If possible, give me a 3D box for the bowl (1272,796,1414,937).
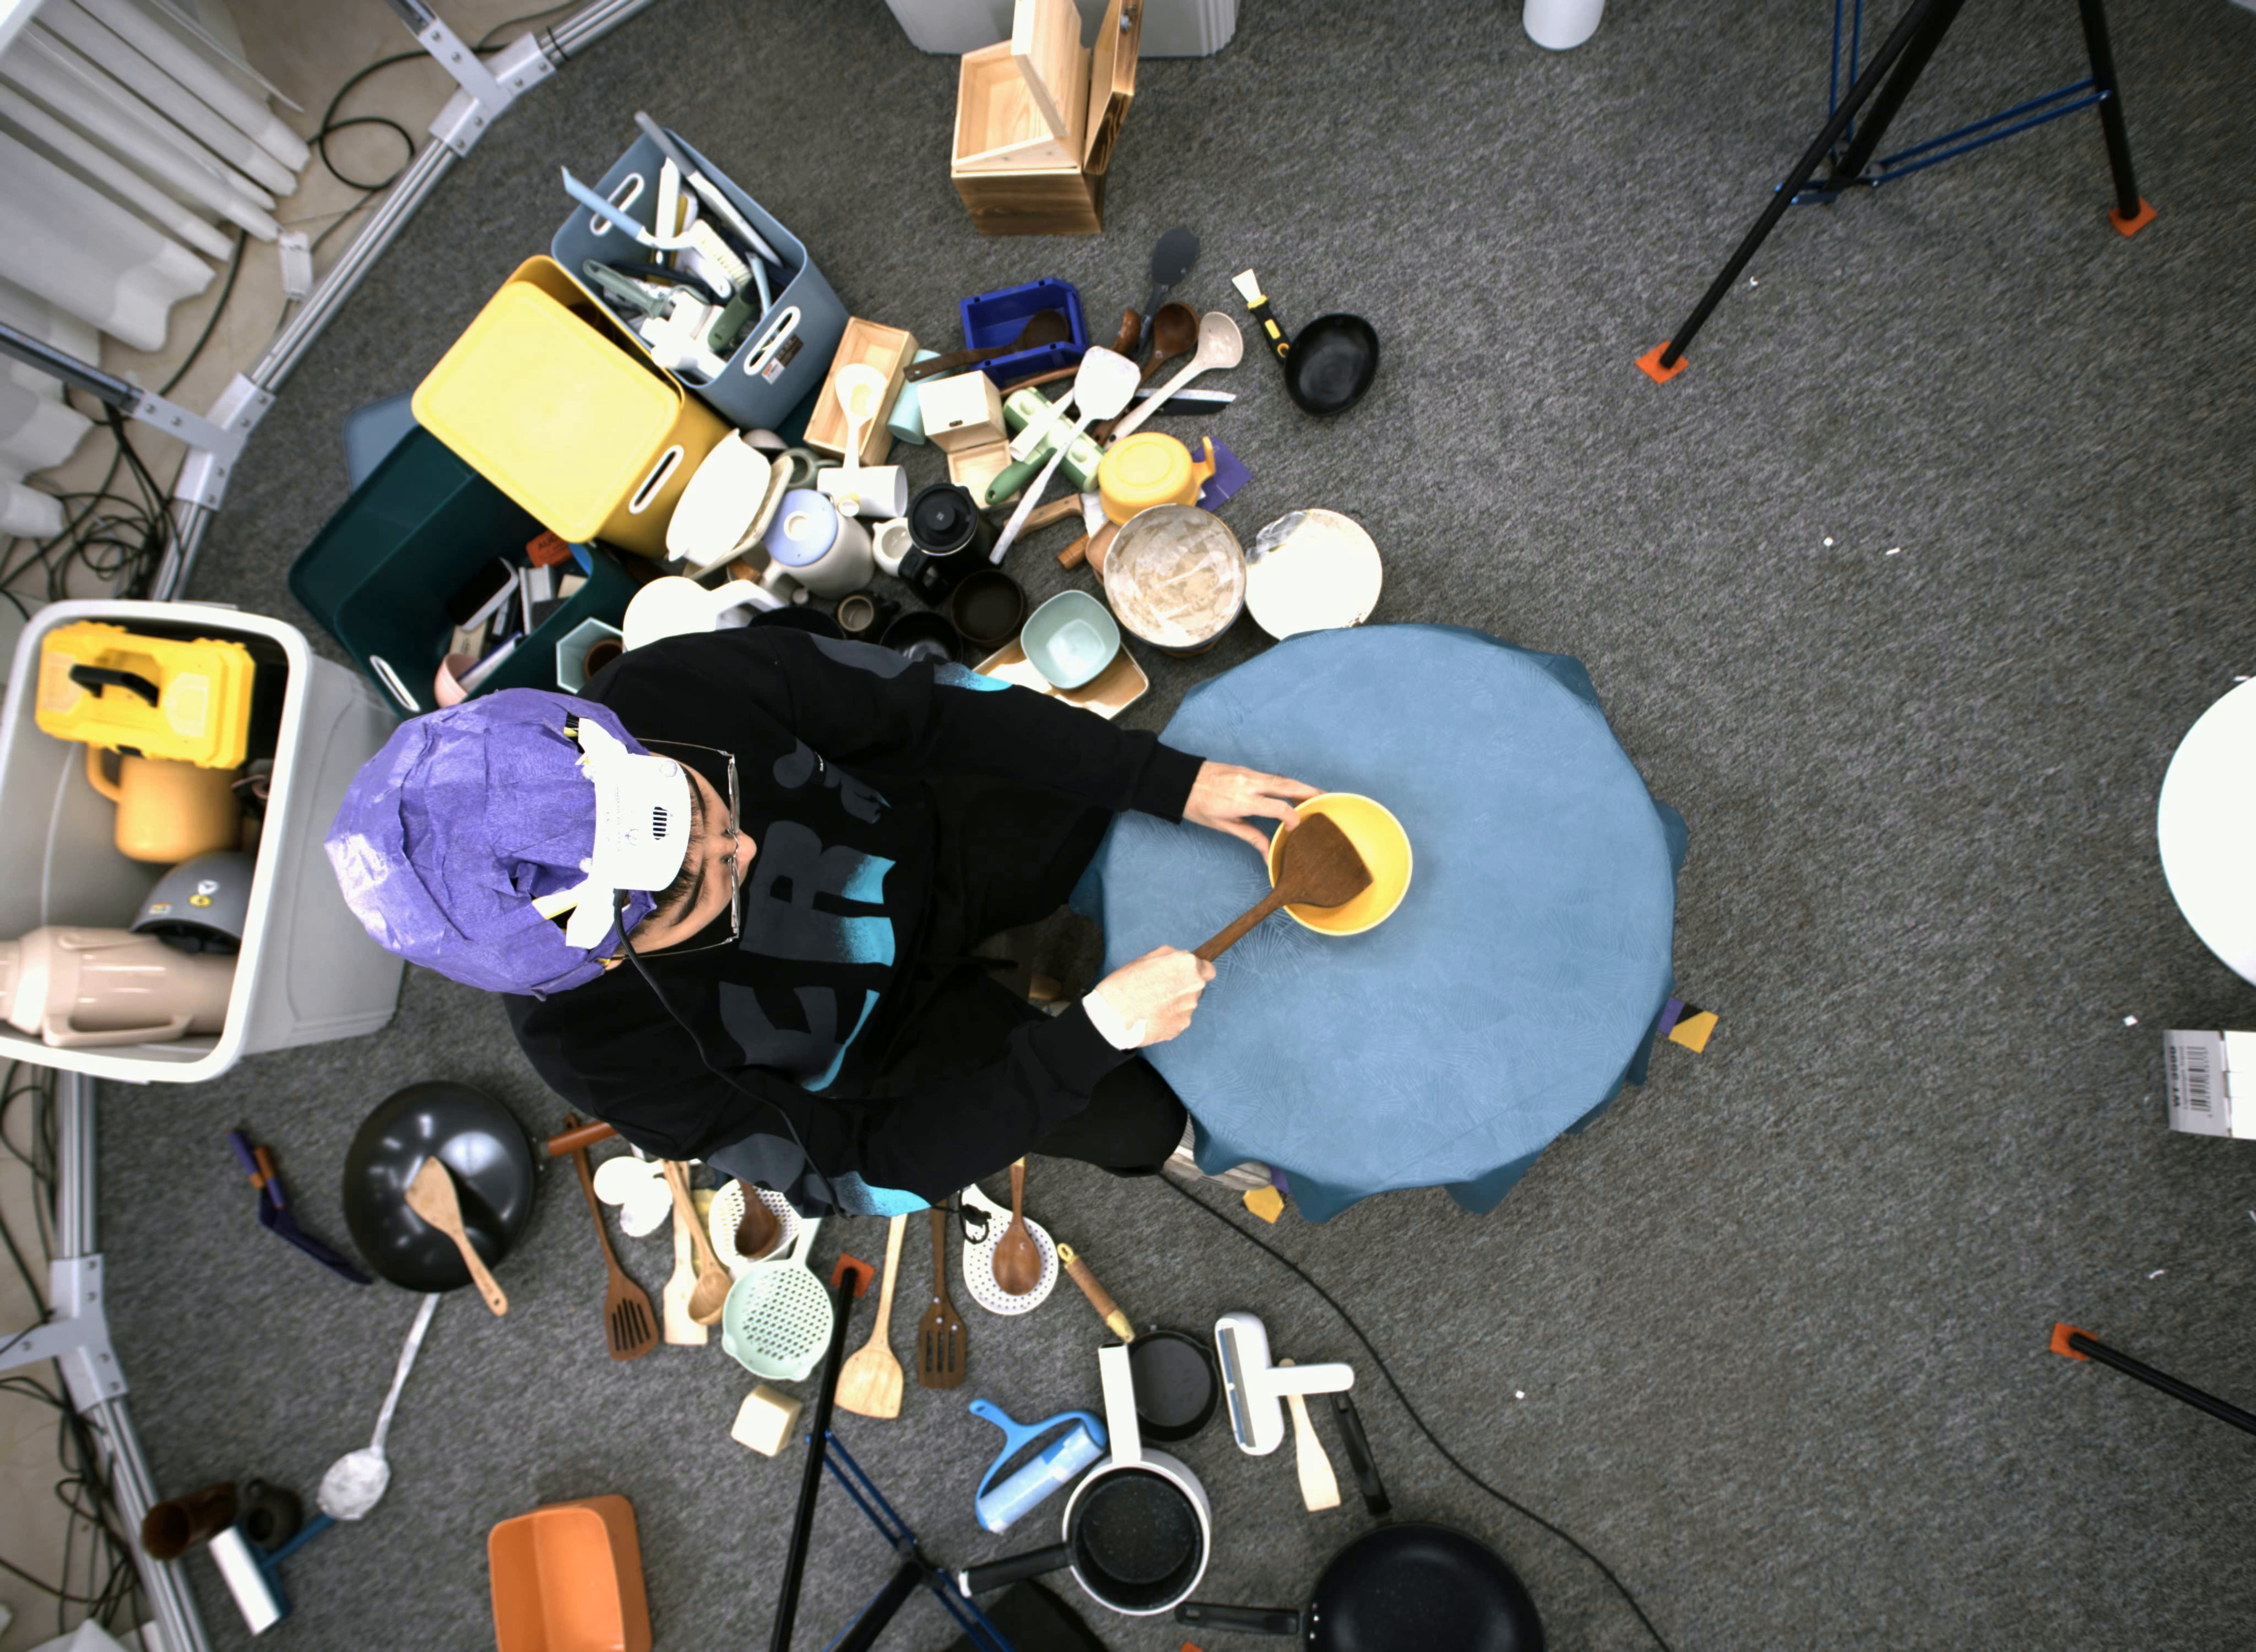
[{"bbox_3d":[0.222,0.040,1.433,0.146,0.060,0.145,0,93,8],"label":"bowl"}]

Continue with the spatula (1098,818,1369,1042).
[{"bbox_3d":[0.104,0.103,1.331,0.378,0.016,0.096,-33,85,-38],"label":"spatula"}]
